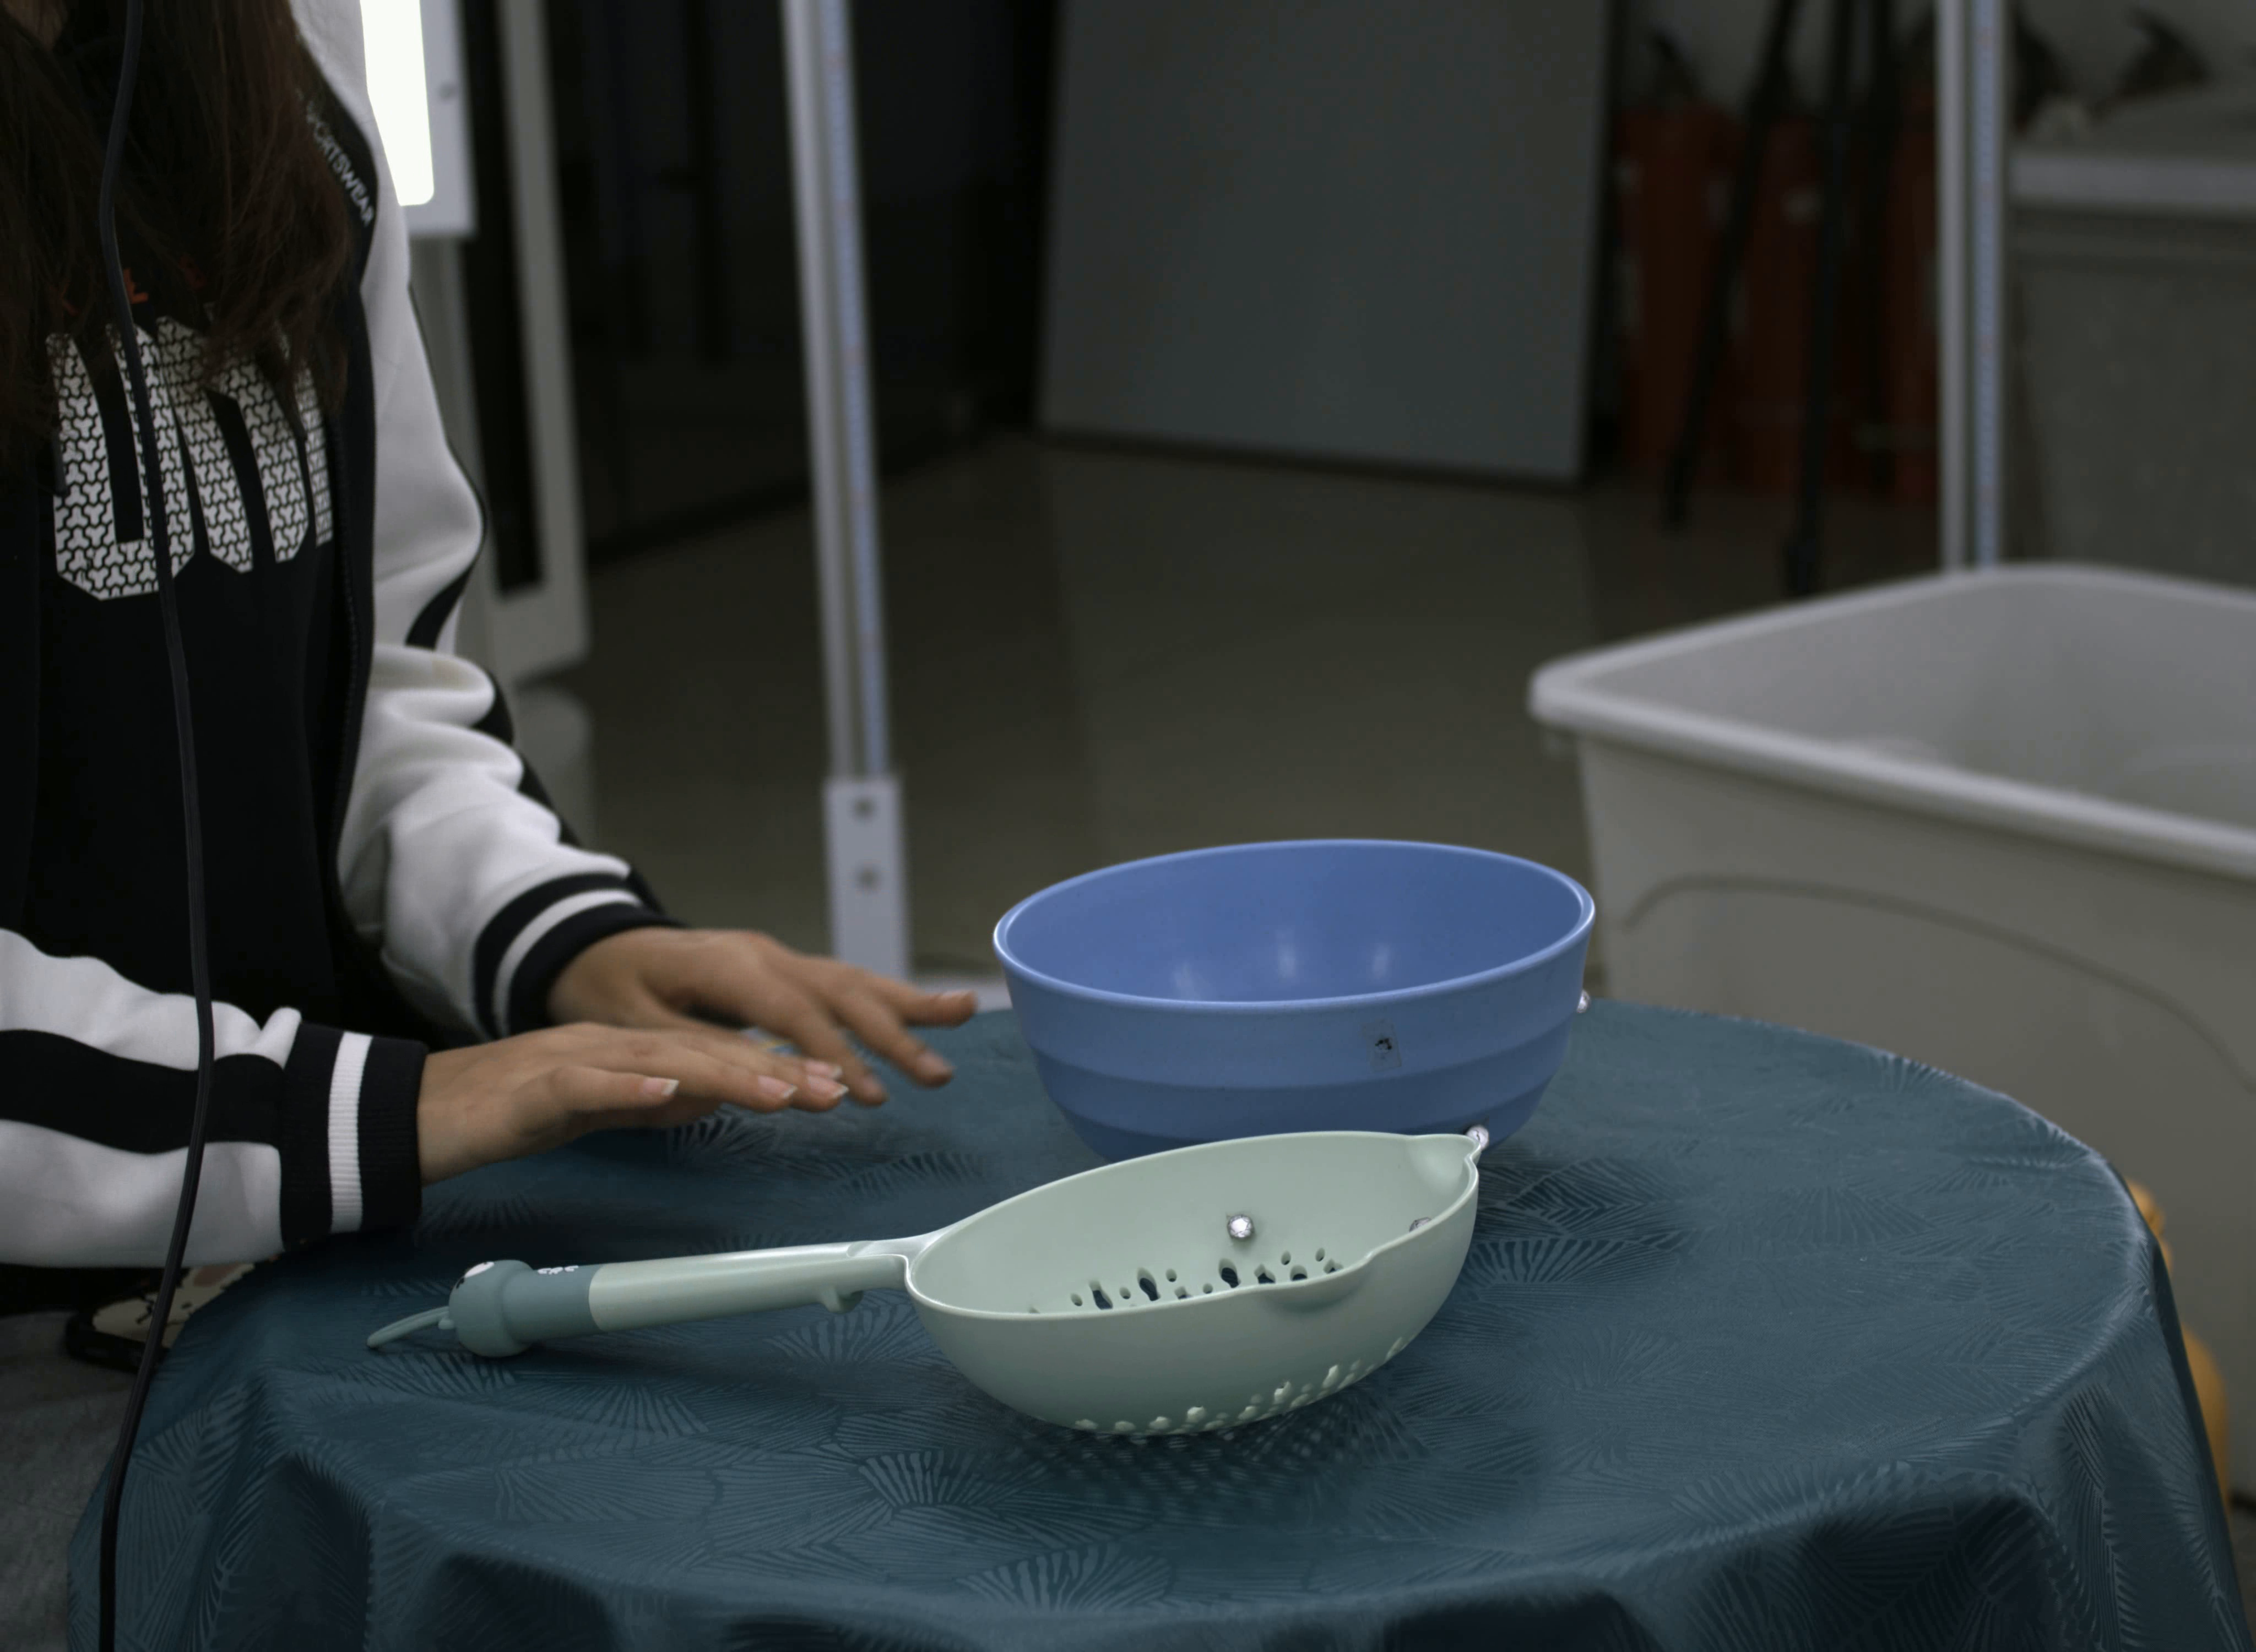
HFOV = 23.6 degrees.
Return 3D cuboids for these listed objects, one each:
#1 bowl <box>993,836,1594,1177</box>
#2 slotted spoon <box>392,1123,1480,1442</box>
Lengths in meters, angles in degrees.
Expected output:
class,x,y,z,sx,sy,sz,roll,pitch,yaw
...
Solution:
class,x,y,z,sx,sy,sz,roll,pitch,yaw
bowl,0.056,0.074,1.746,0.194,0.096,0.197,-5,14,0
slotted spoon,-0.066,0.138,1.598,0.359,0.076,0.167,0,13,24
